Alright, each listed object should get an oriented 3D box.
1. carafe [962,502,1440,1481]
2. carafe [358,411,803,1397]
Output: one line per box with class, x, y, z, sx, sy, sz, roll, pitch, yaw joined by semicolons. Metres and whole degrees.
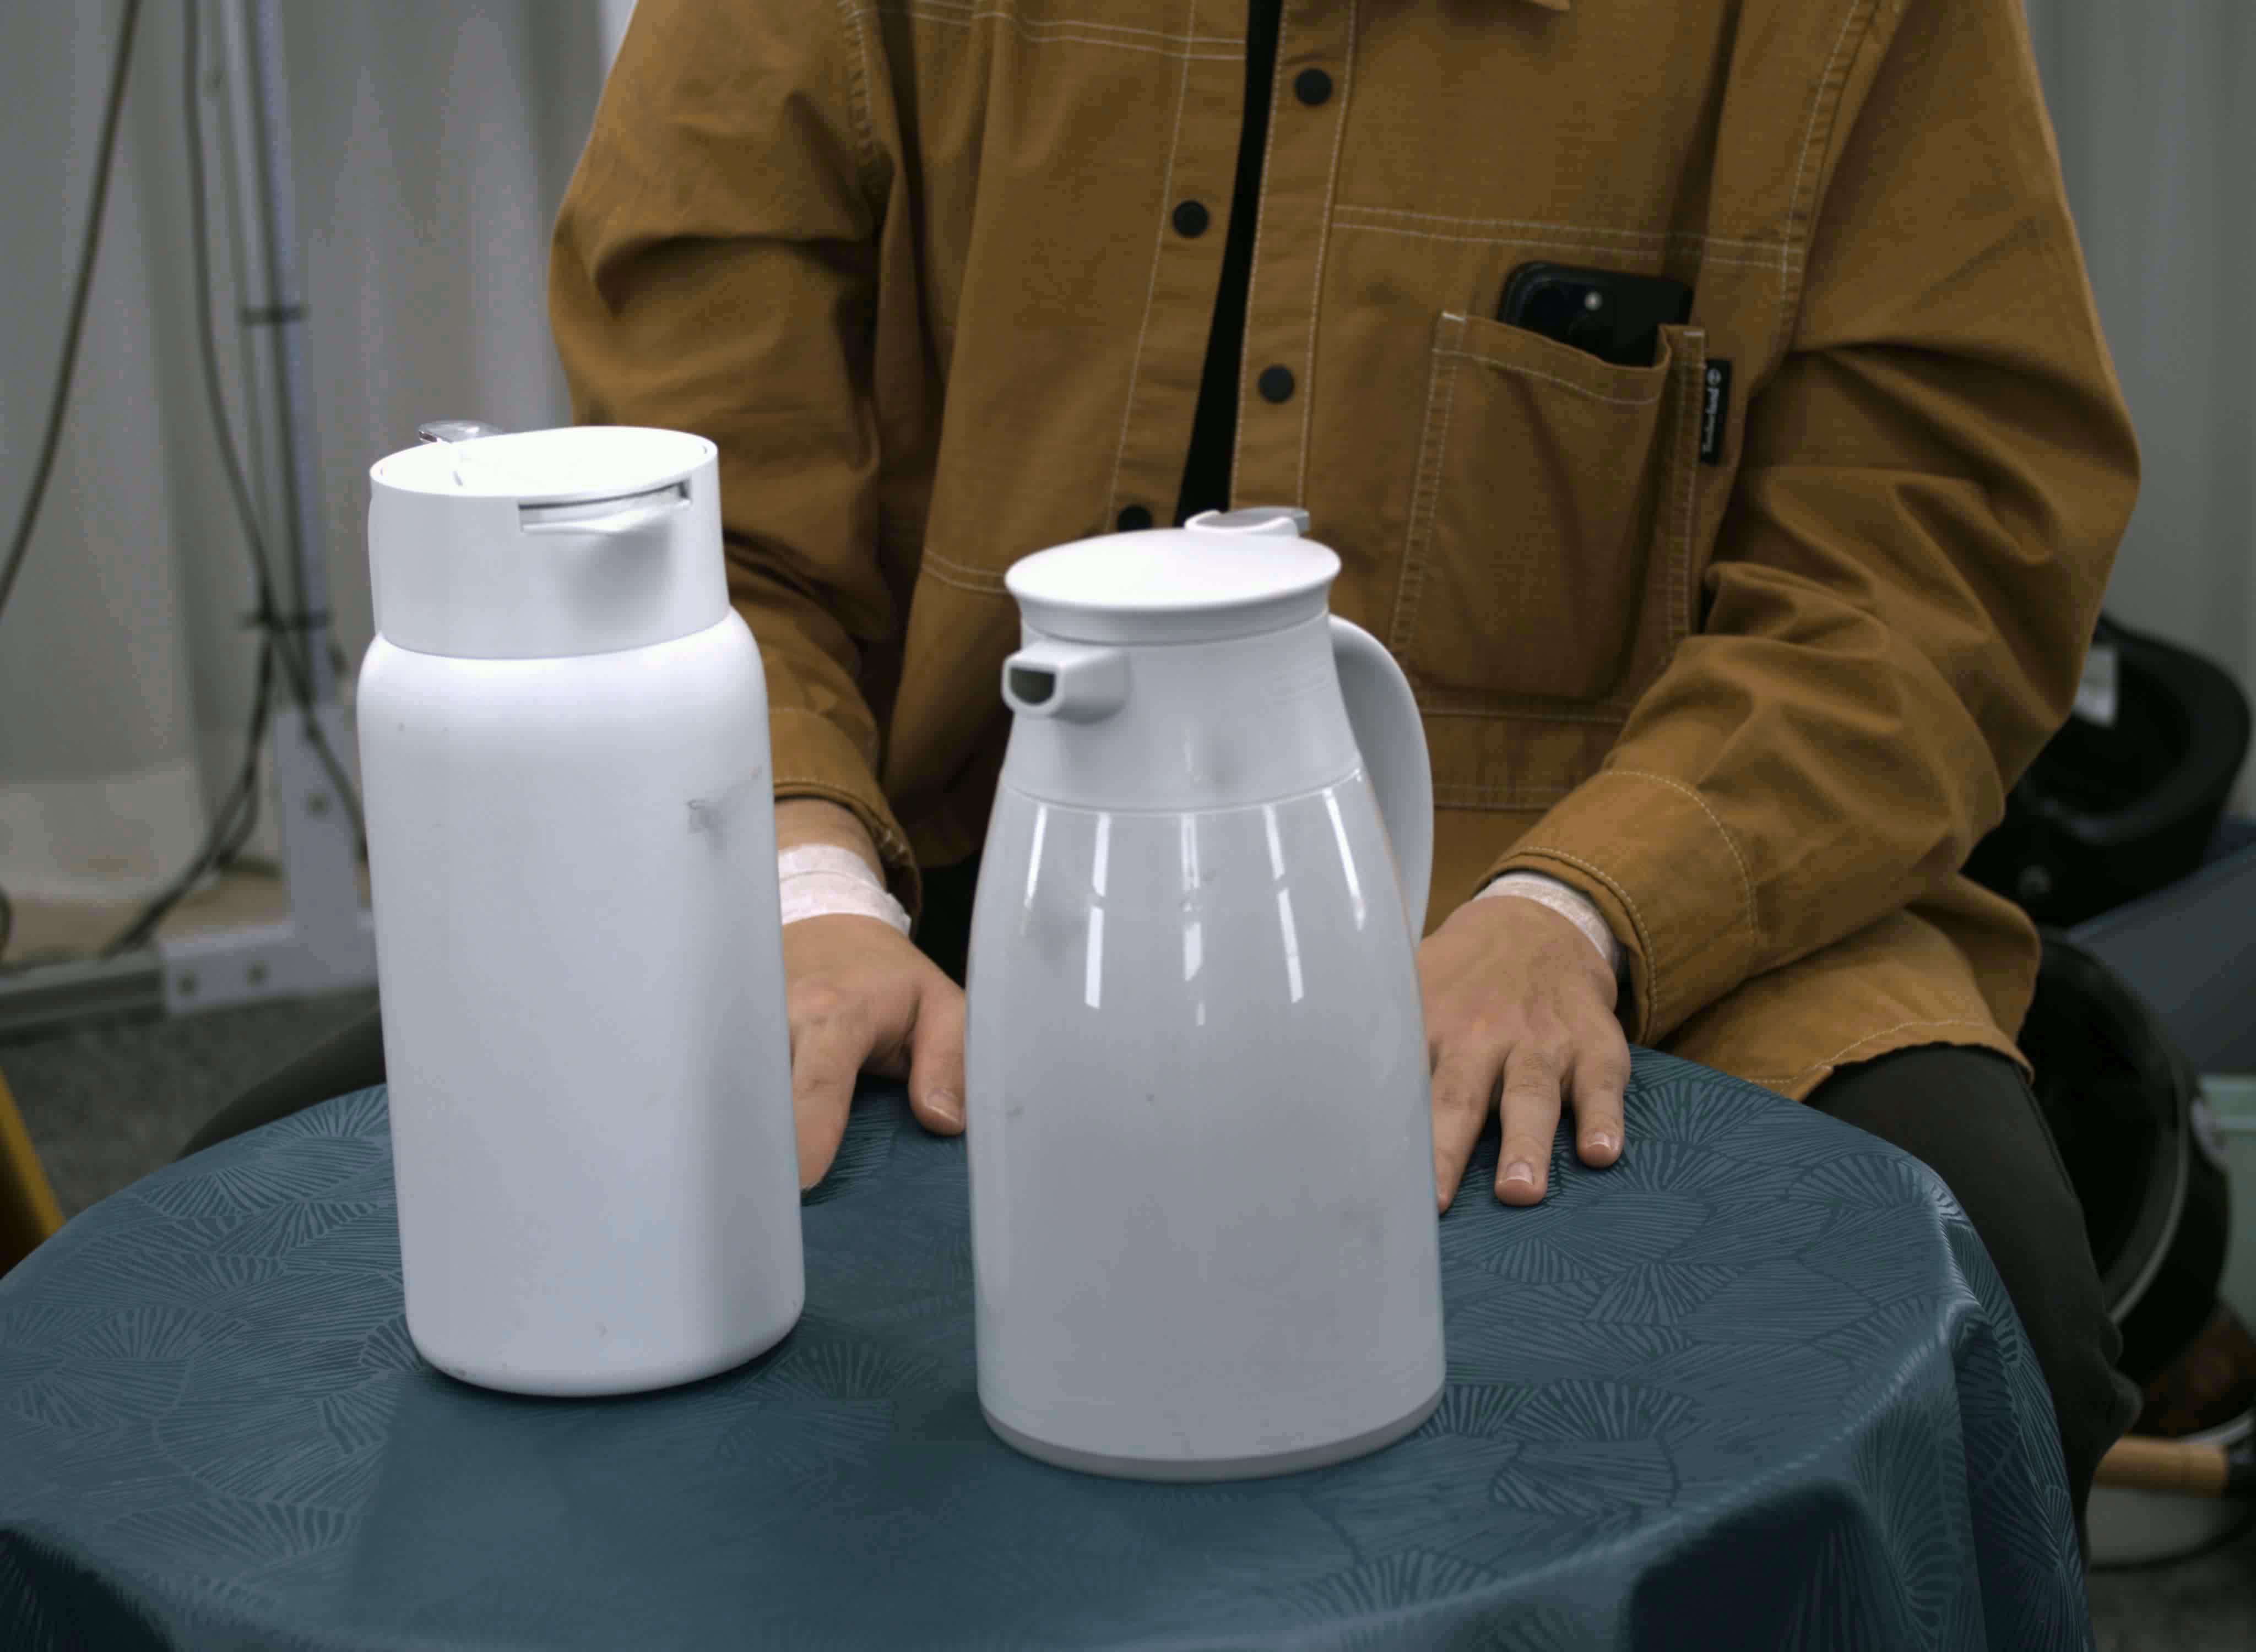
carafe;0.028;0.037;1.523;0.133;0.248;0.167;8;16;37
carafe;-0.169;0.019;1.591;0.123;0.268;0.174;-13;16;-29
